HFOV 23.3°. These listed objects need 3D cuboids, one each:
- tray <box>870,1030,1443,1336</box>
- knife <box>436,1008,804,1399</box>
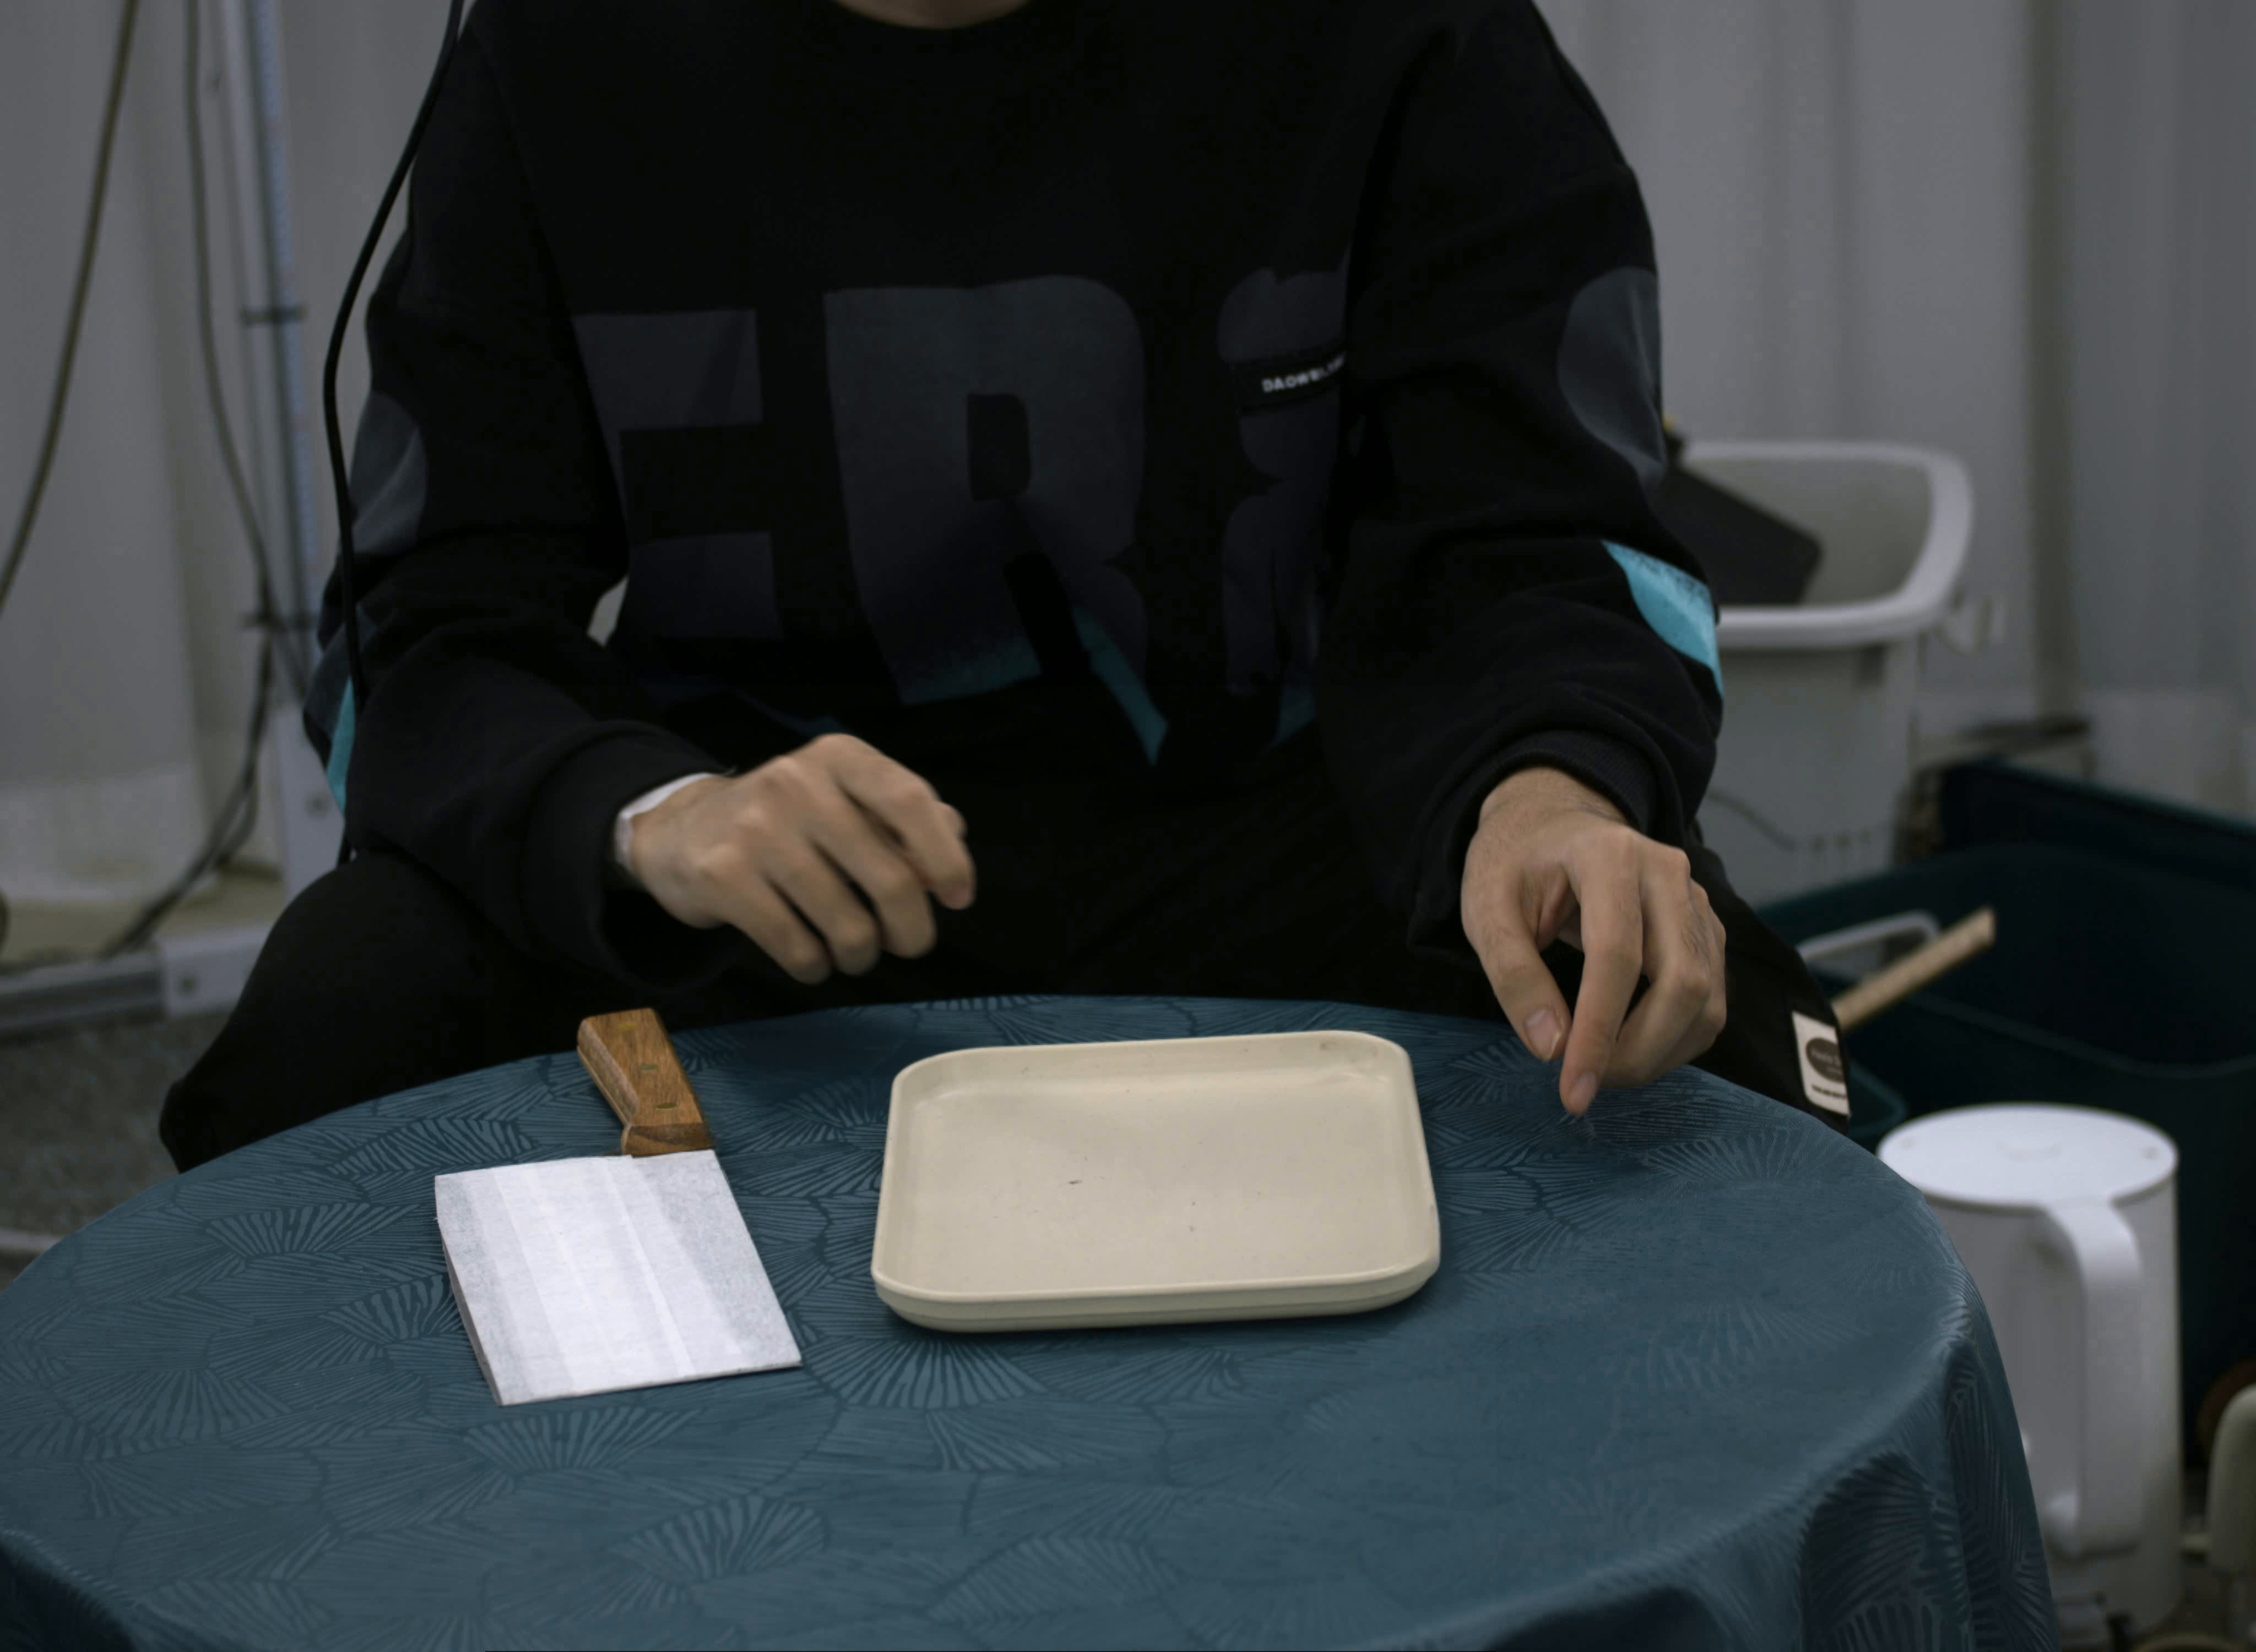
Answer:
[{"bbox_3d":[0.008,0.110,1.696,0.171,0.017,0.241,-4,15,1],"label":"tray"},{"bbox_3d":[-0.168,0.117,1.711,0.092,0.021,0.308,-8,18,-10],"label":"knife"}]
